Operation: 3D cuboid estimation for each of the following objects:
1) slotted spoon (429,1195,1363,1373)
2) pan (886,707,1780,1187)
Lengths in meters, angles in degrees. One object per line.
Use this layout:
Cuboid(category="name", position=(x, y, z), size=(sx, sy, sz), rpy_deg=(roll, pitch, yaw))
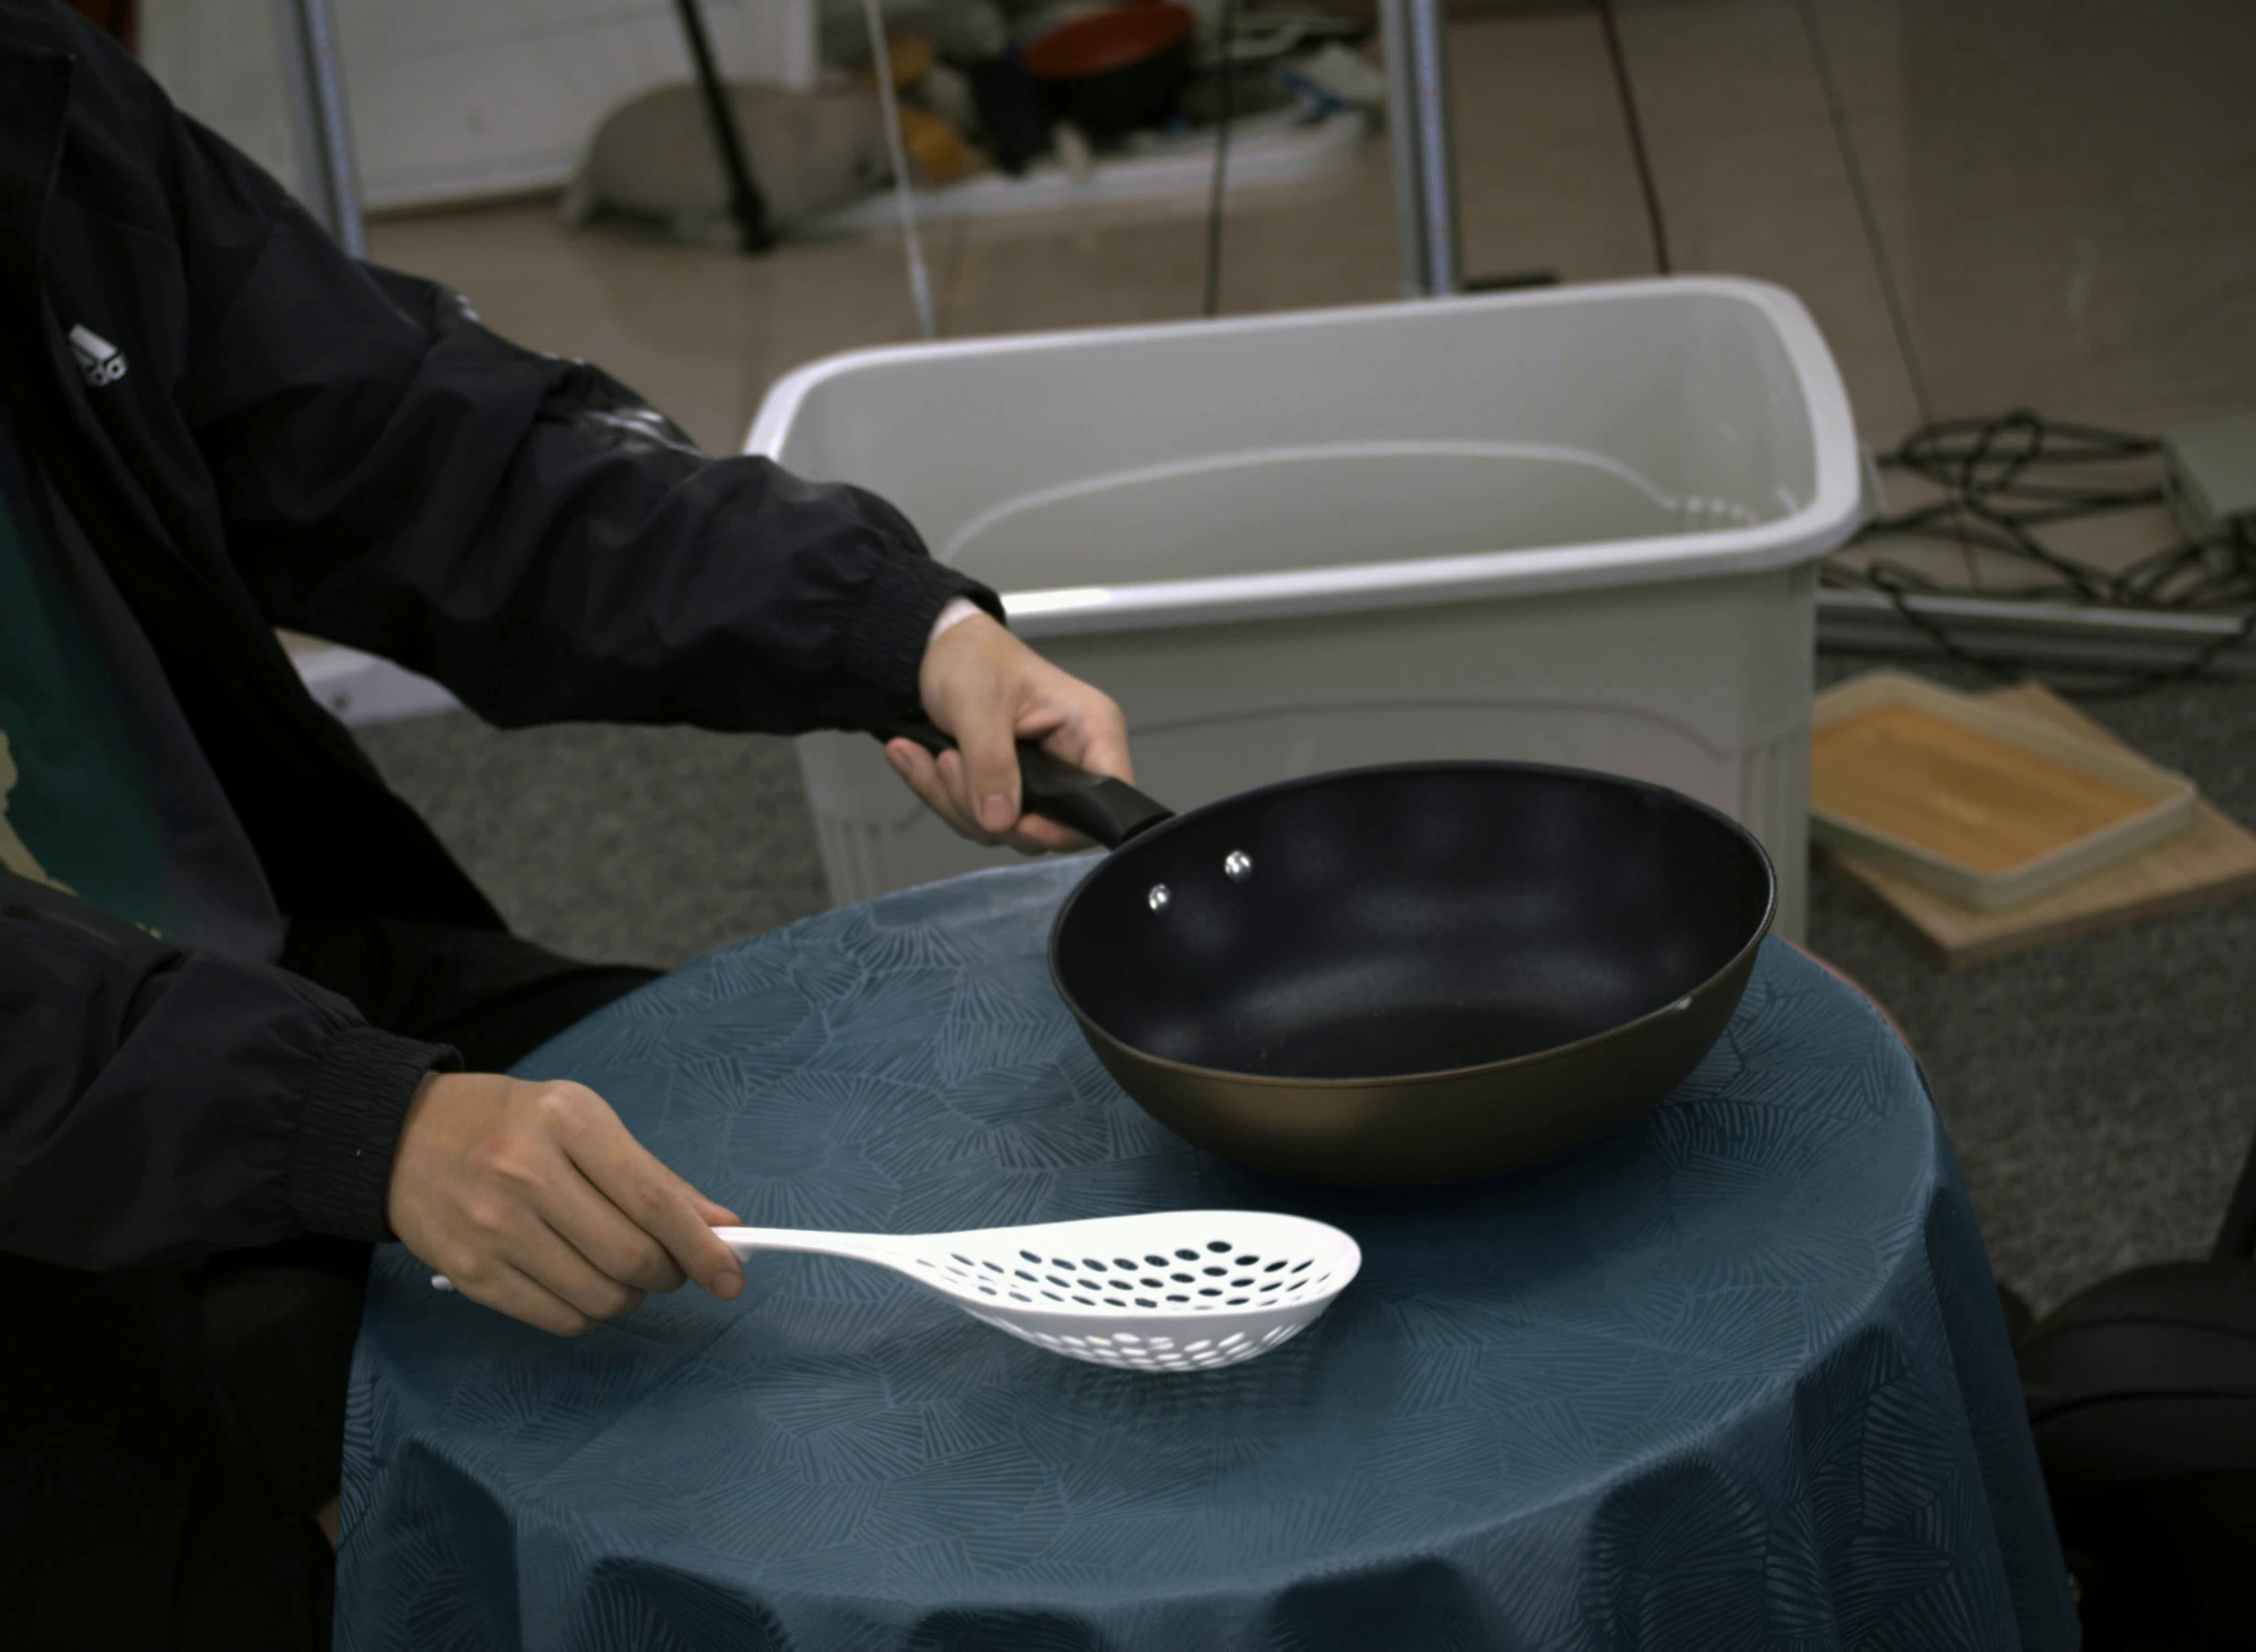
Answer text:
Cuboid(category="slotted spoon", position=(-0.088, 0.163, 2.046), size=(0.347, 0.051, 0.135), rpy_deg=(5, 15, 16))
Cuboid(category="pan", position=(0.051, 0.044, 2.238), size=(0.286, 0.088, 0.459), rpy_deg=(-24, 29, -34))
